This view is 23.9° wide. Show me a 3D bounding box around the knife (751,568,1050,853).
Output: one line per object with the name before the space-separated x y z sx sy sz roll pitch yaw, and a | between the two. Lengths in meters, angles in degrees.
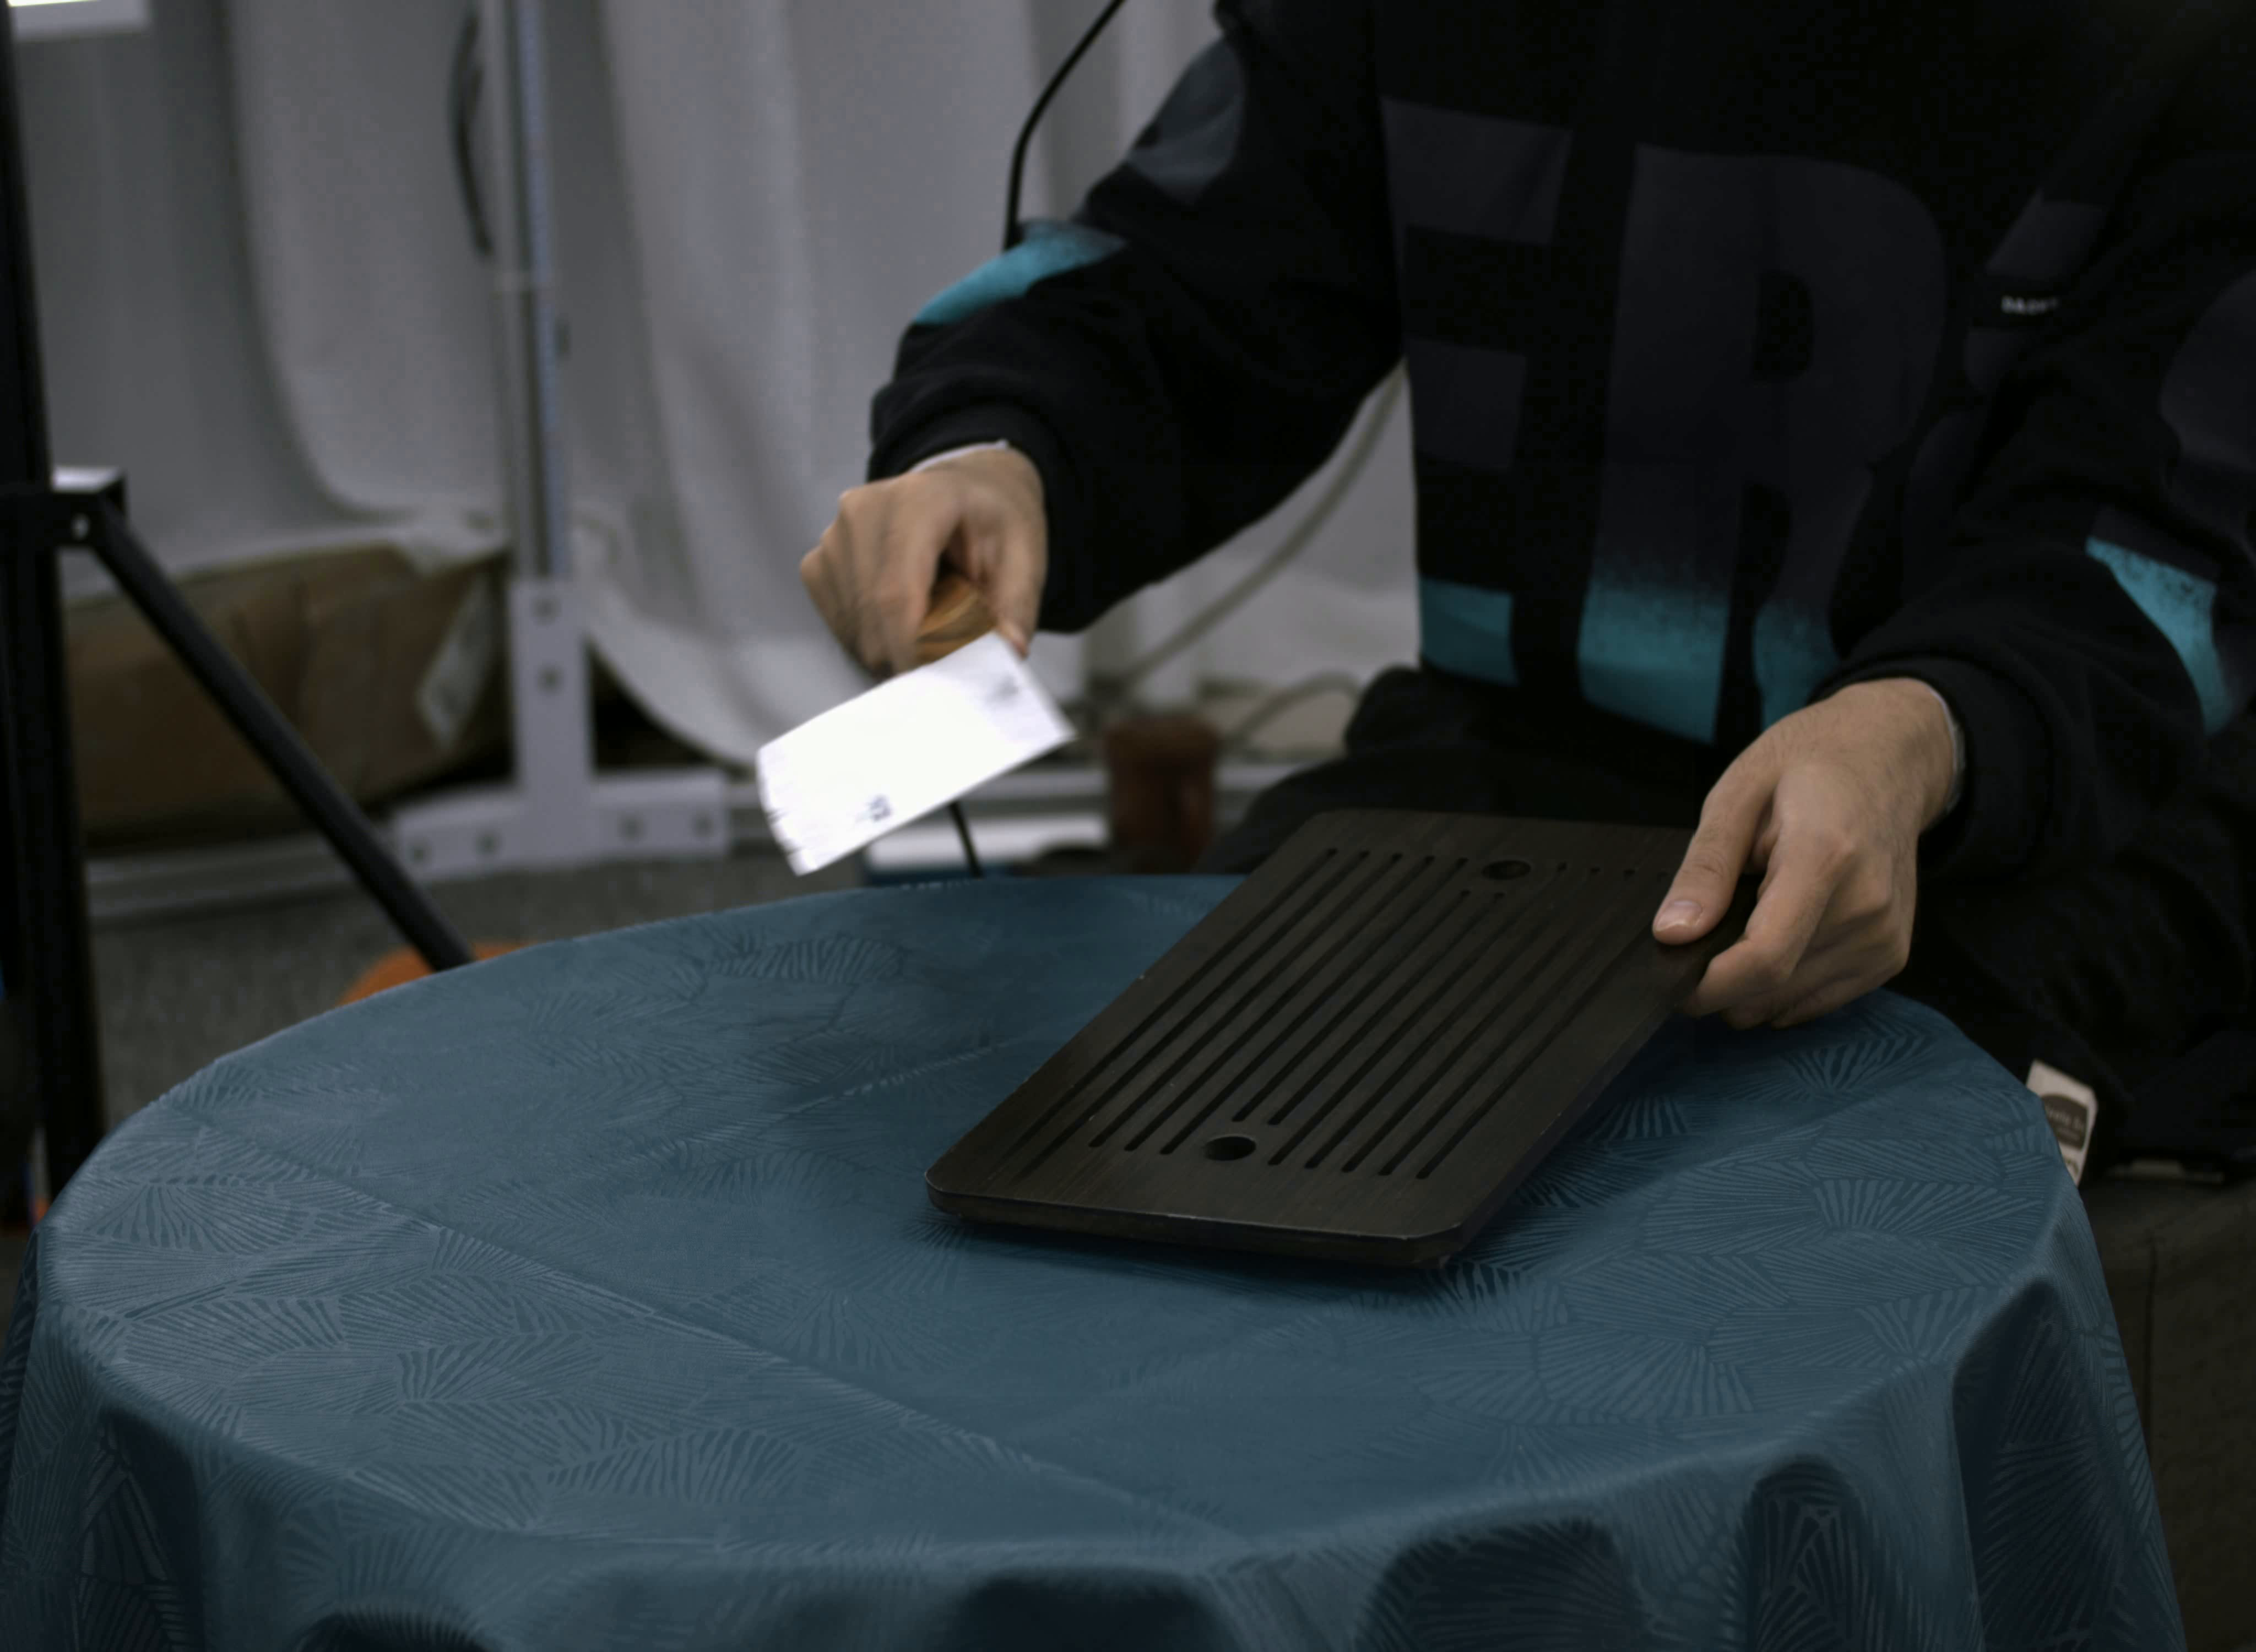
knife | -0.080 -0.036 1.725 0.092 0.021 0.308 -29 14 0

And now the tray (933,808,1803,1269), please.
tray | 0.080 0.061 1.616 0.173 0.018 0.302 3 23 27
